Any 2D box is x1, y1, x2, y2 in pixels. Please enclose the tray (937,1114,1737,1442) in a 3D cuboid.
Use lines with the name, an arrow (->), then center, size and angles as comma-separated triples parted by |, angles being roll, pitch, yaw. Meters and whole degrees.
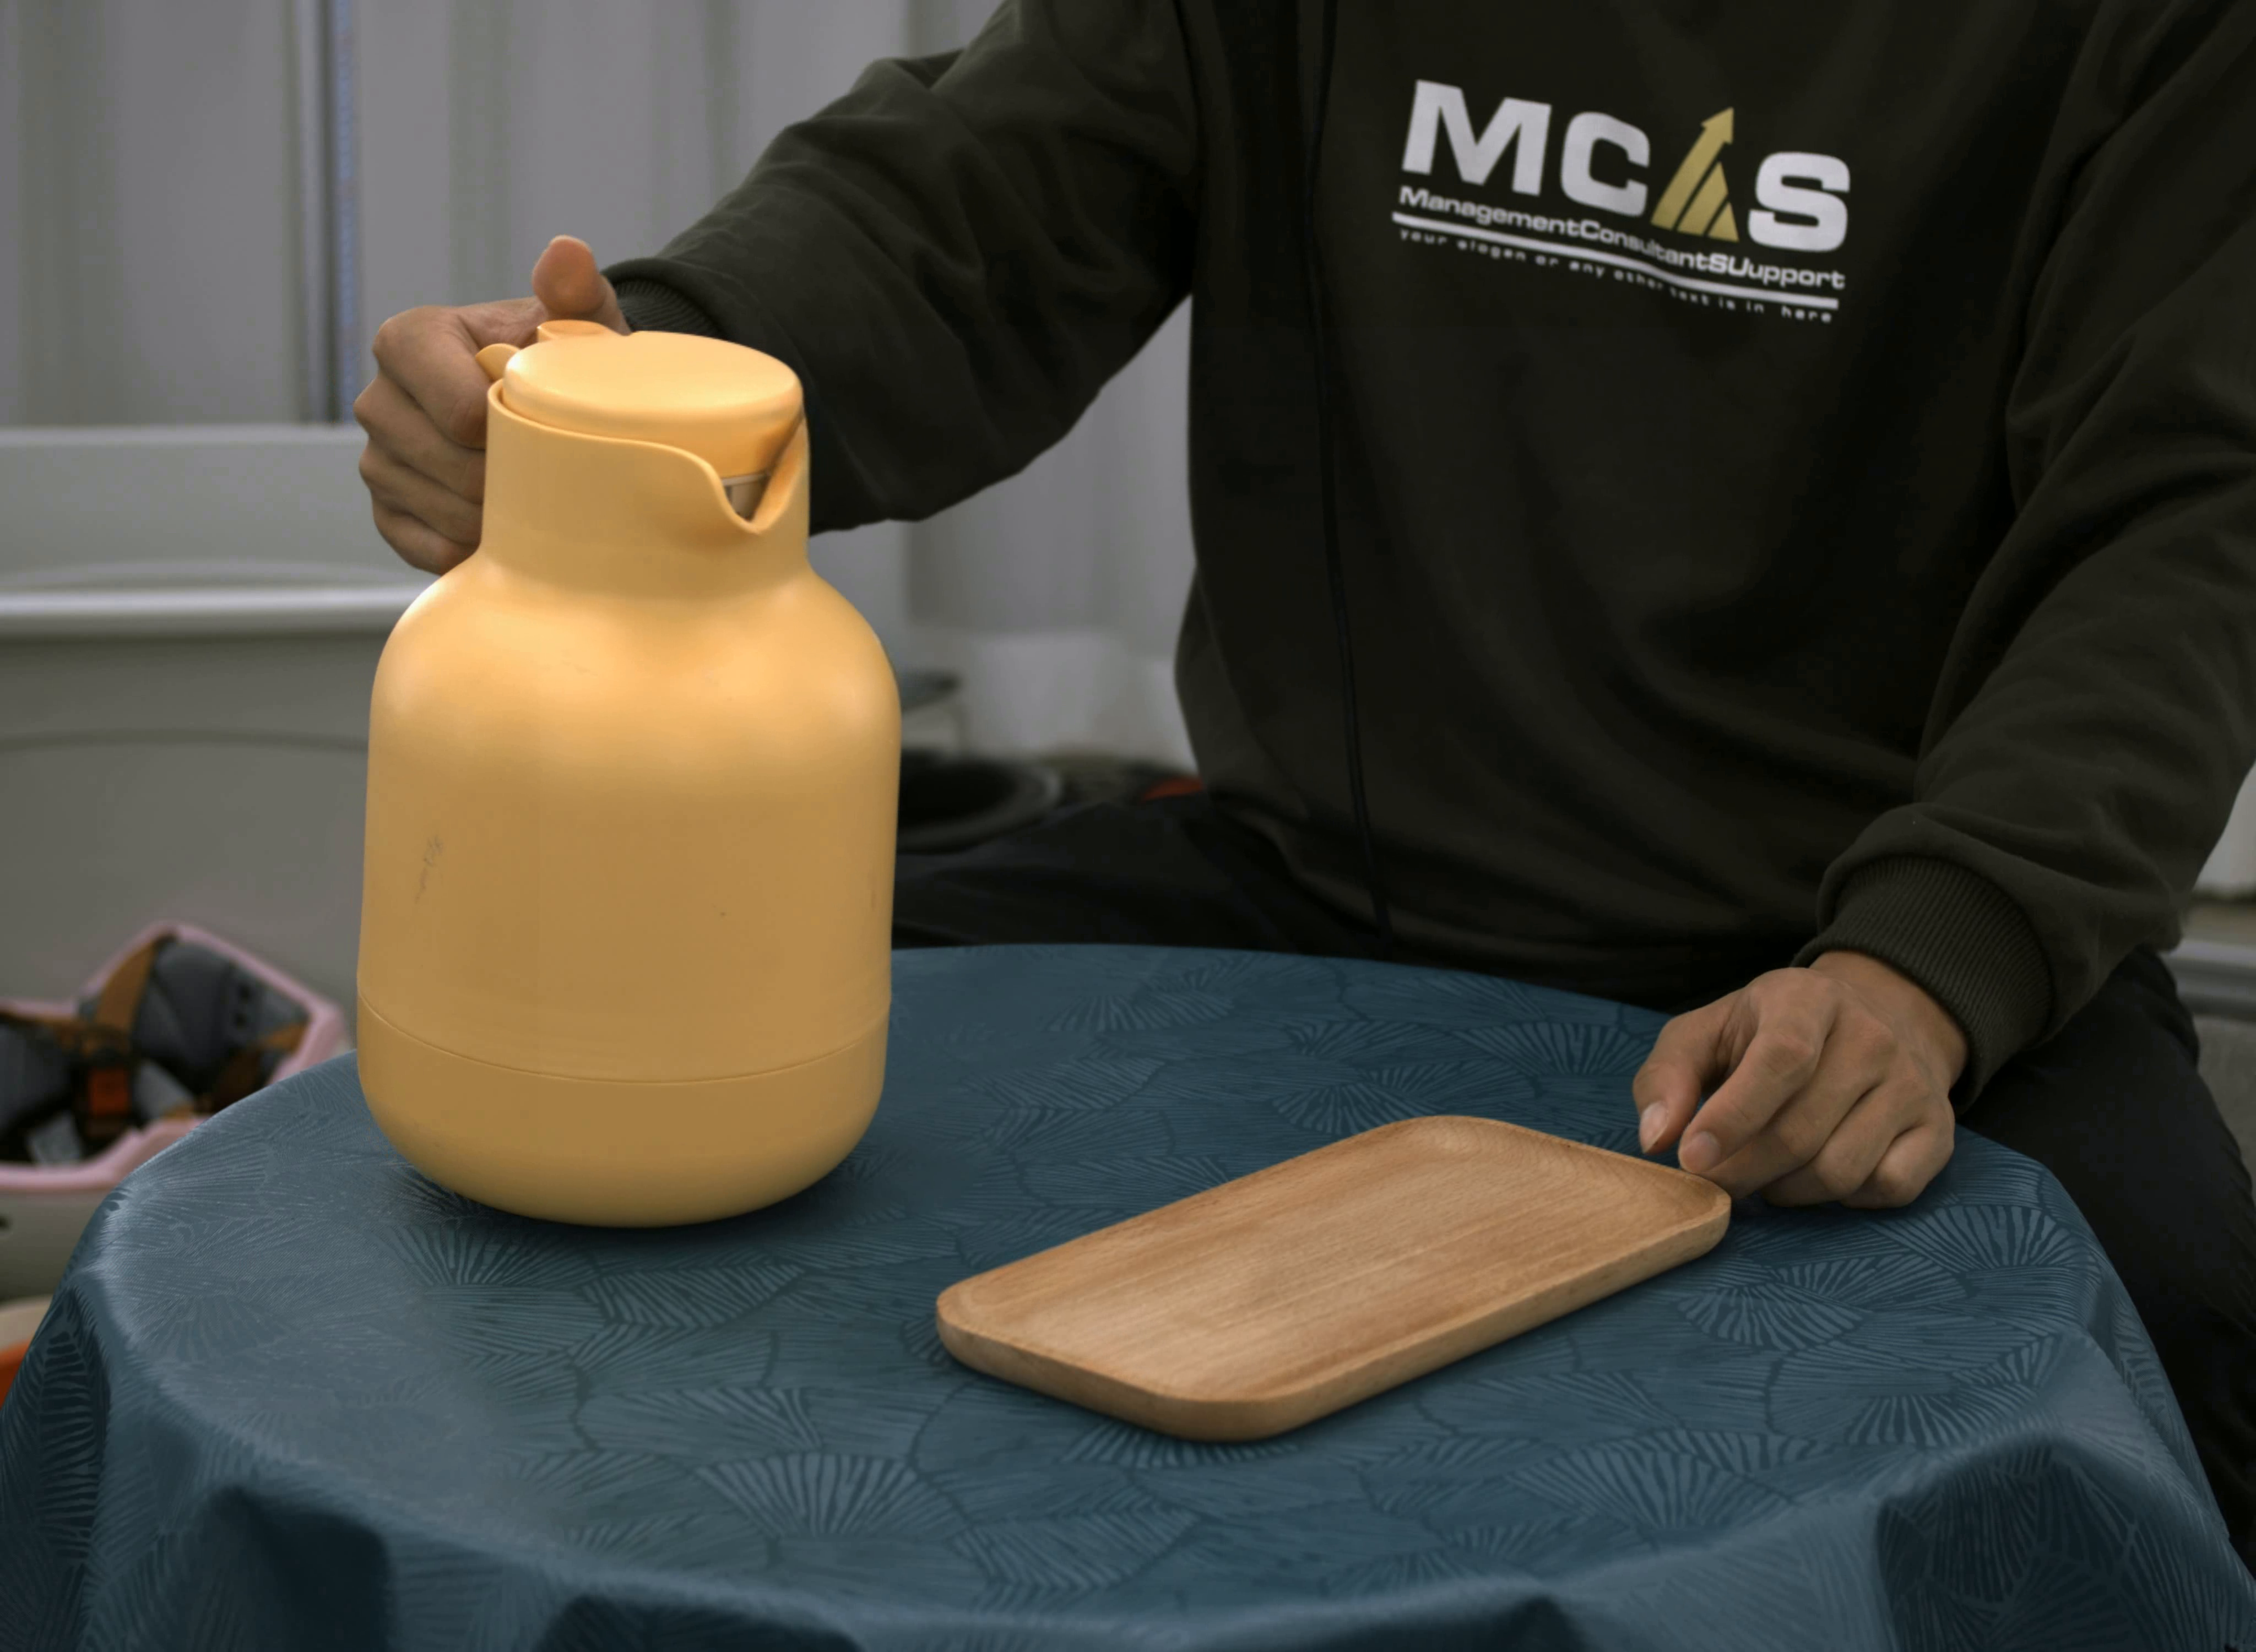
tray -> 0.064, 0.130, 1.542 | 0.129, 0.023, 0.252 | 17, 21, 39

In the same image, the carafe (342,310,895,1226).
carafe -> -0.159, -0.026, 1.610 | 0.164, 0.262, 0.199 | -4, 22, -29
